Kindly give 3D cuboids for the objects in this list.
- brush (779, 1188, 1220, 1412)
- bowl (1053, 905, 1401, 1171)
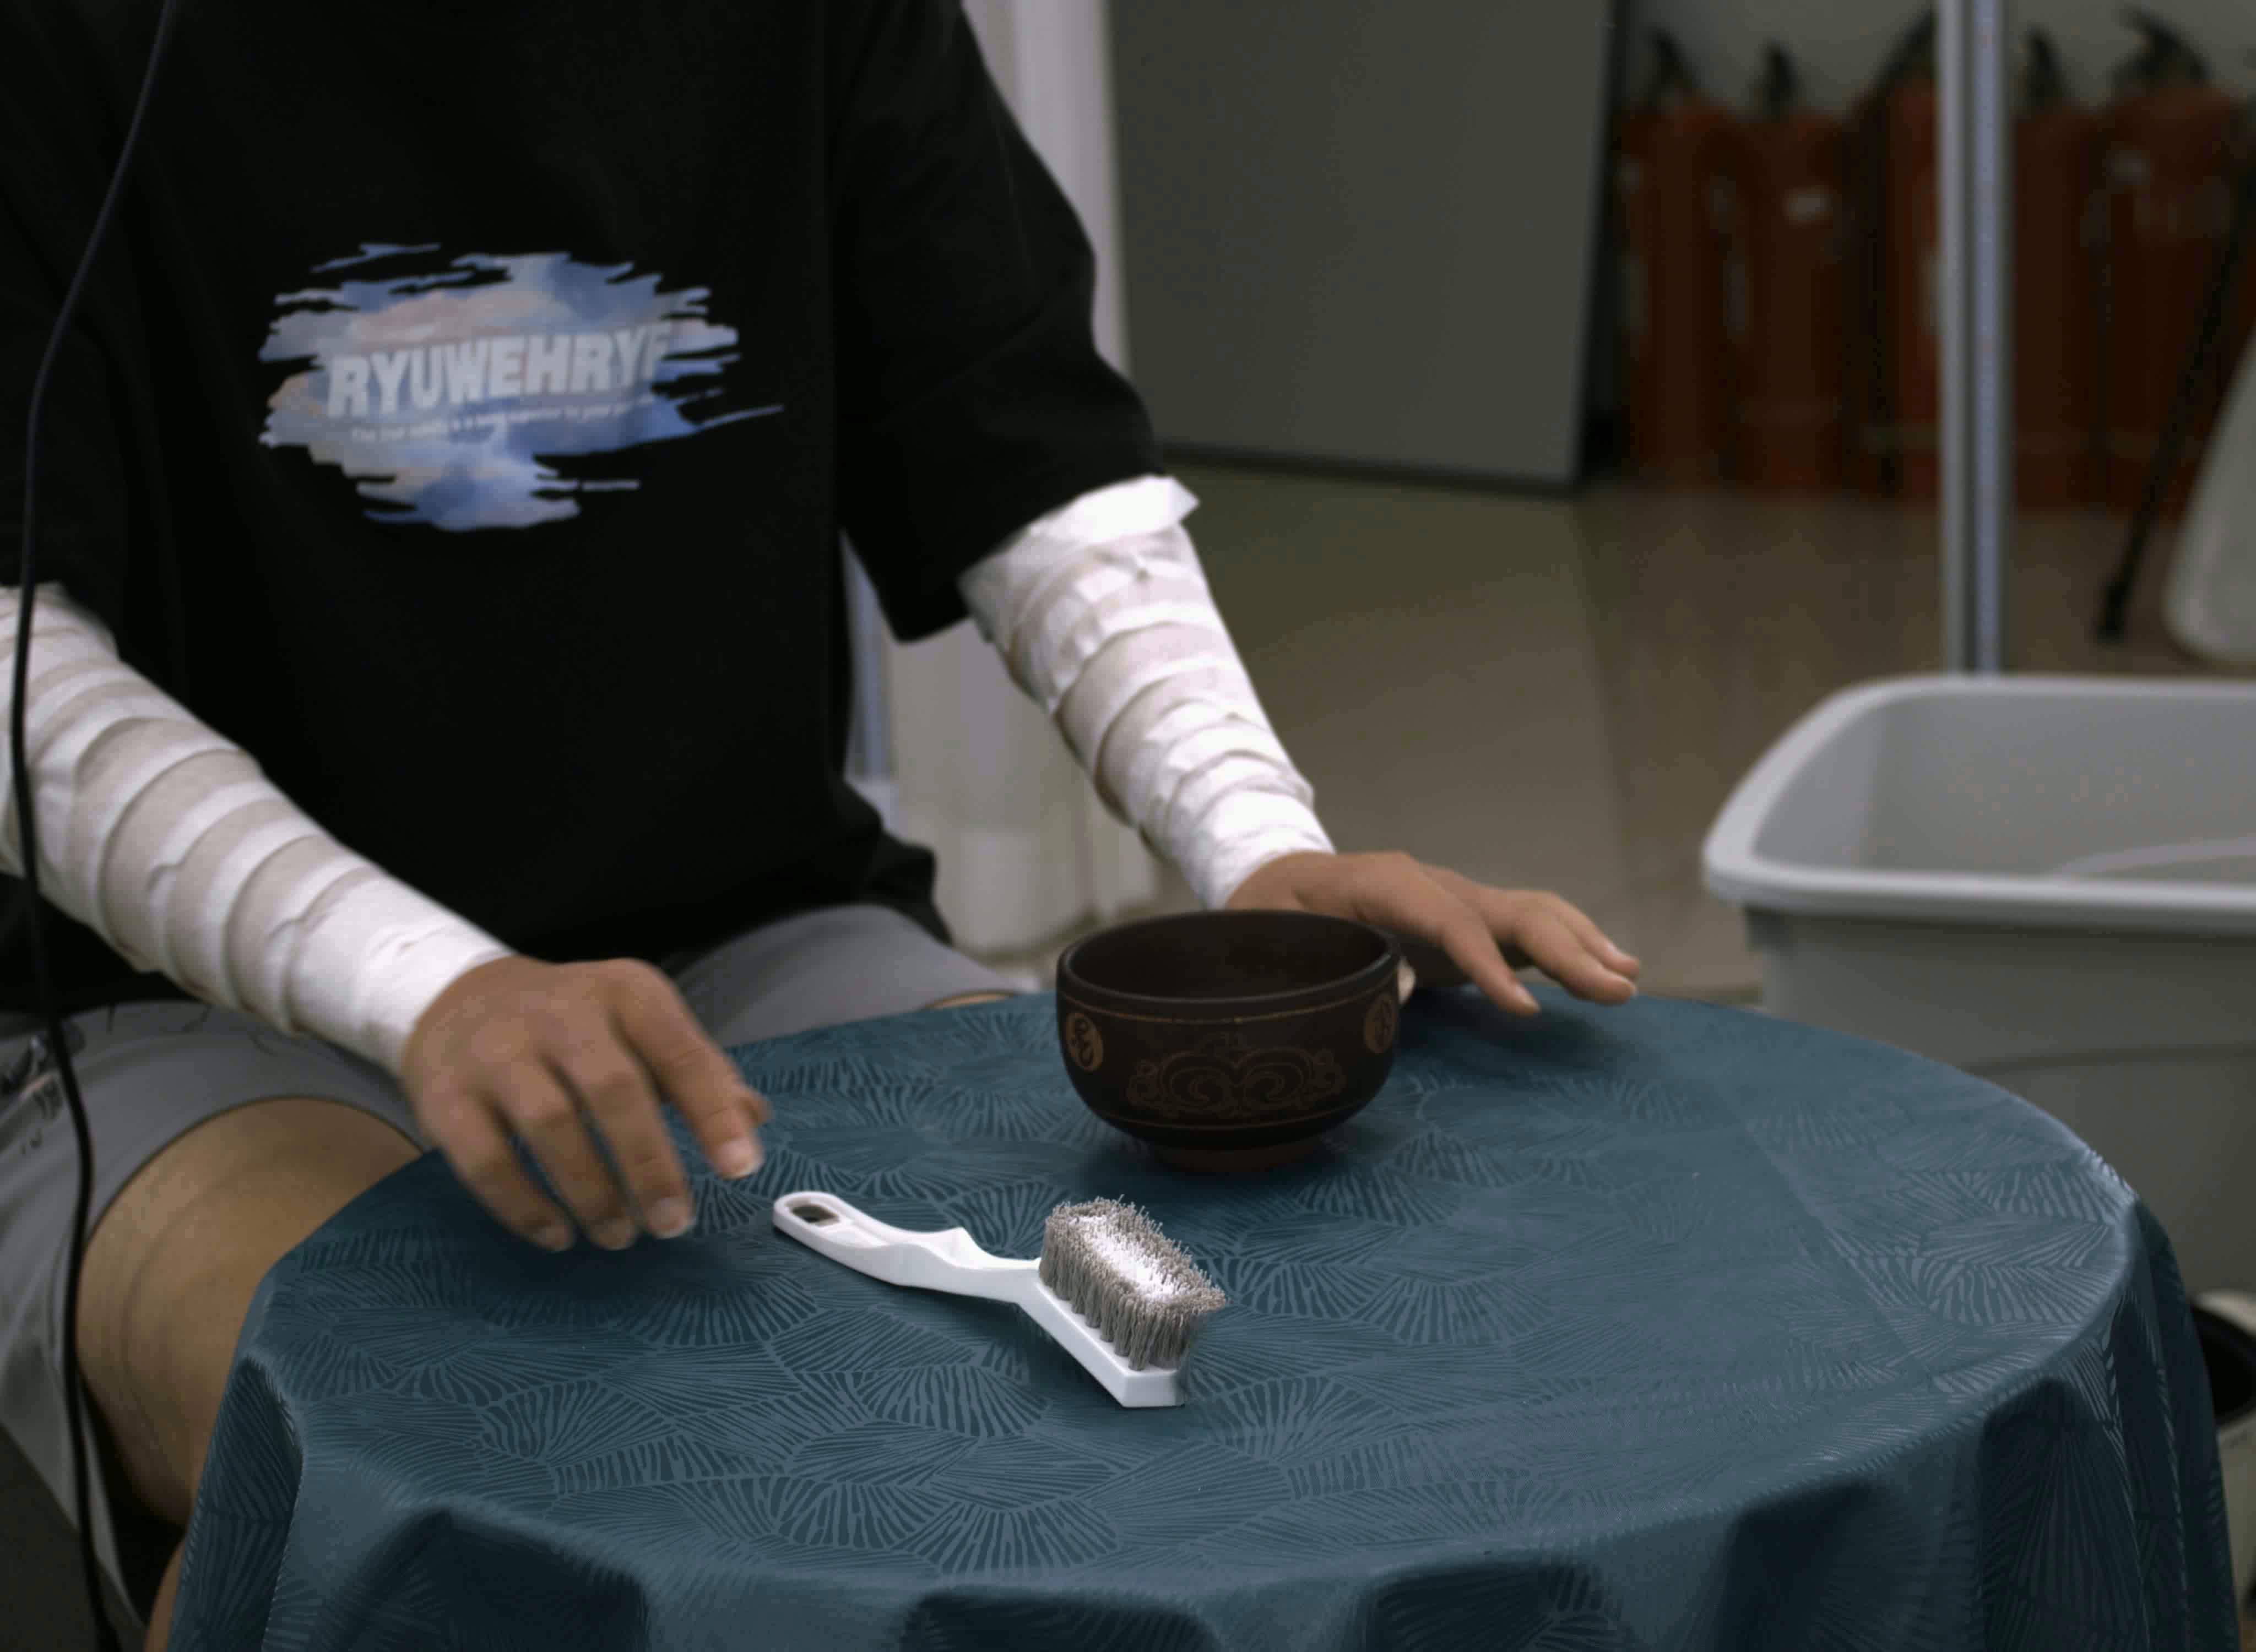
[{"bbox_3d":[-0.045,0.125,1.660,0.033,0.051,0.246,-9,15,-29],"label":"brush"},{"bbox_3d":[0.035,0.074,1.802,0.116,0.070,0.118,-6,13,0],"label":"bowl"}]
